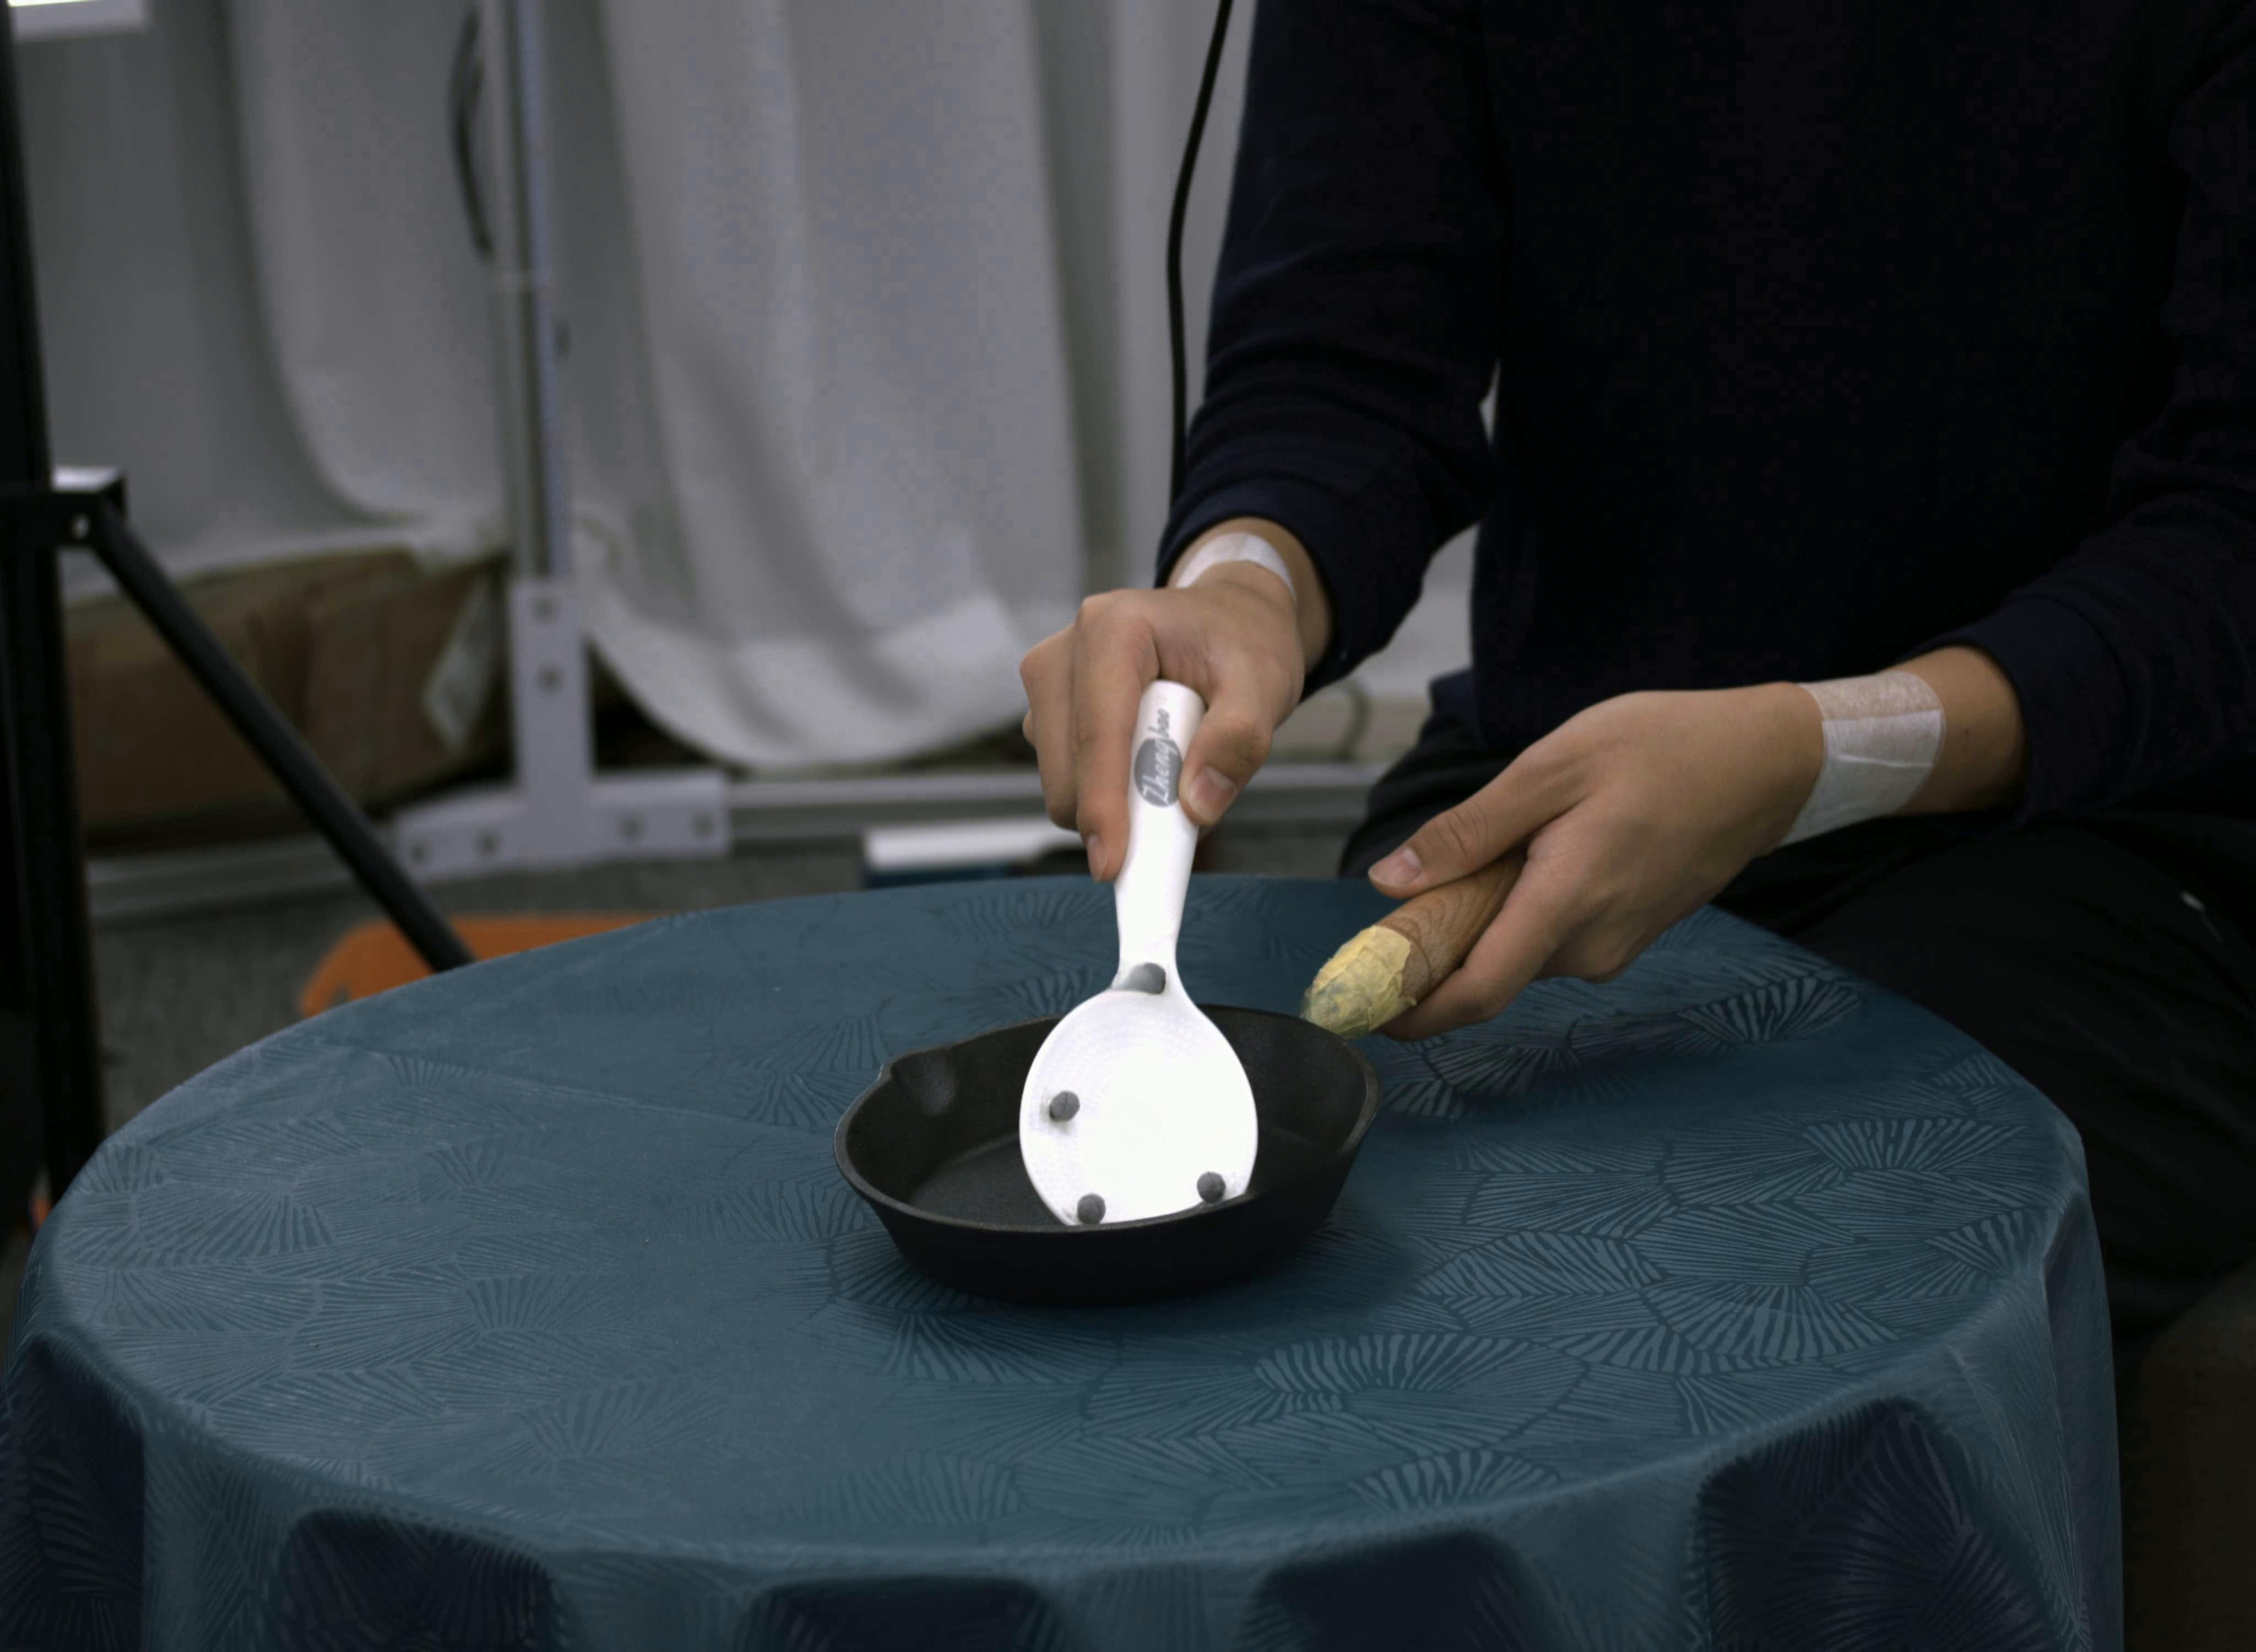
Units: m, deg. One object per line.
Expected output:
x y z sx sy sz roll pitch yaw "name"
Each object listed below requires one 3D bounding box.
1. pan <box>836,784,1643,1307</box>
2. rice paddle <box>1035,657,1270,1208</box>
0.053 0.061 1.569 0.173 0.049 0.318 14 30 44 "pan"
0.009 0.036 1.563 0.068 0.029 0.207 4 50 -2 "rice paddle"
